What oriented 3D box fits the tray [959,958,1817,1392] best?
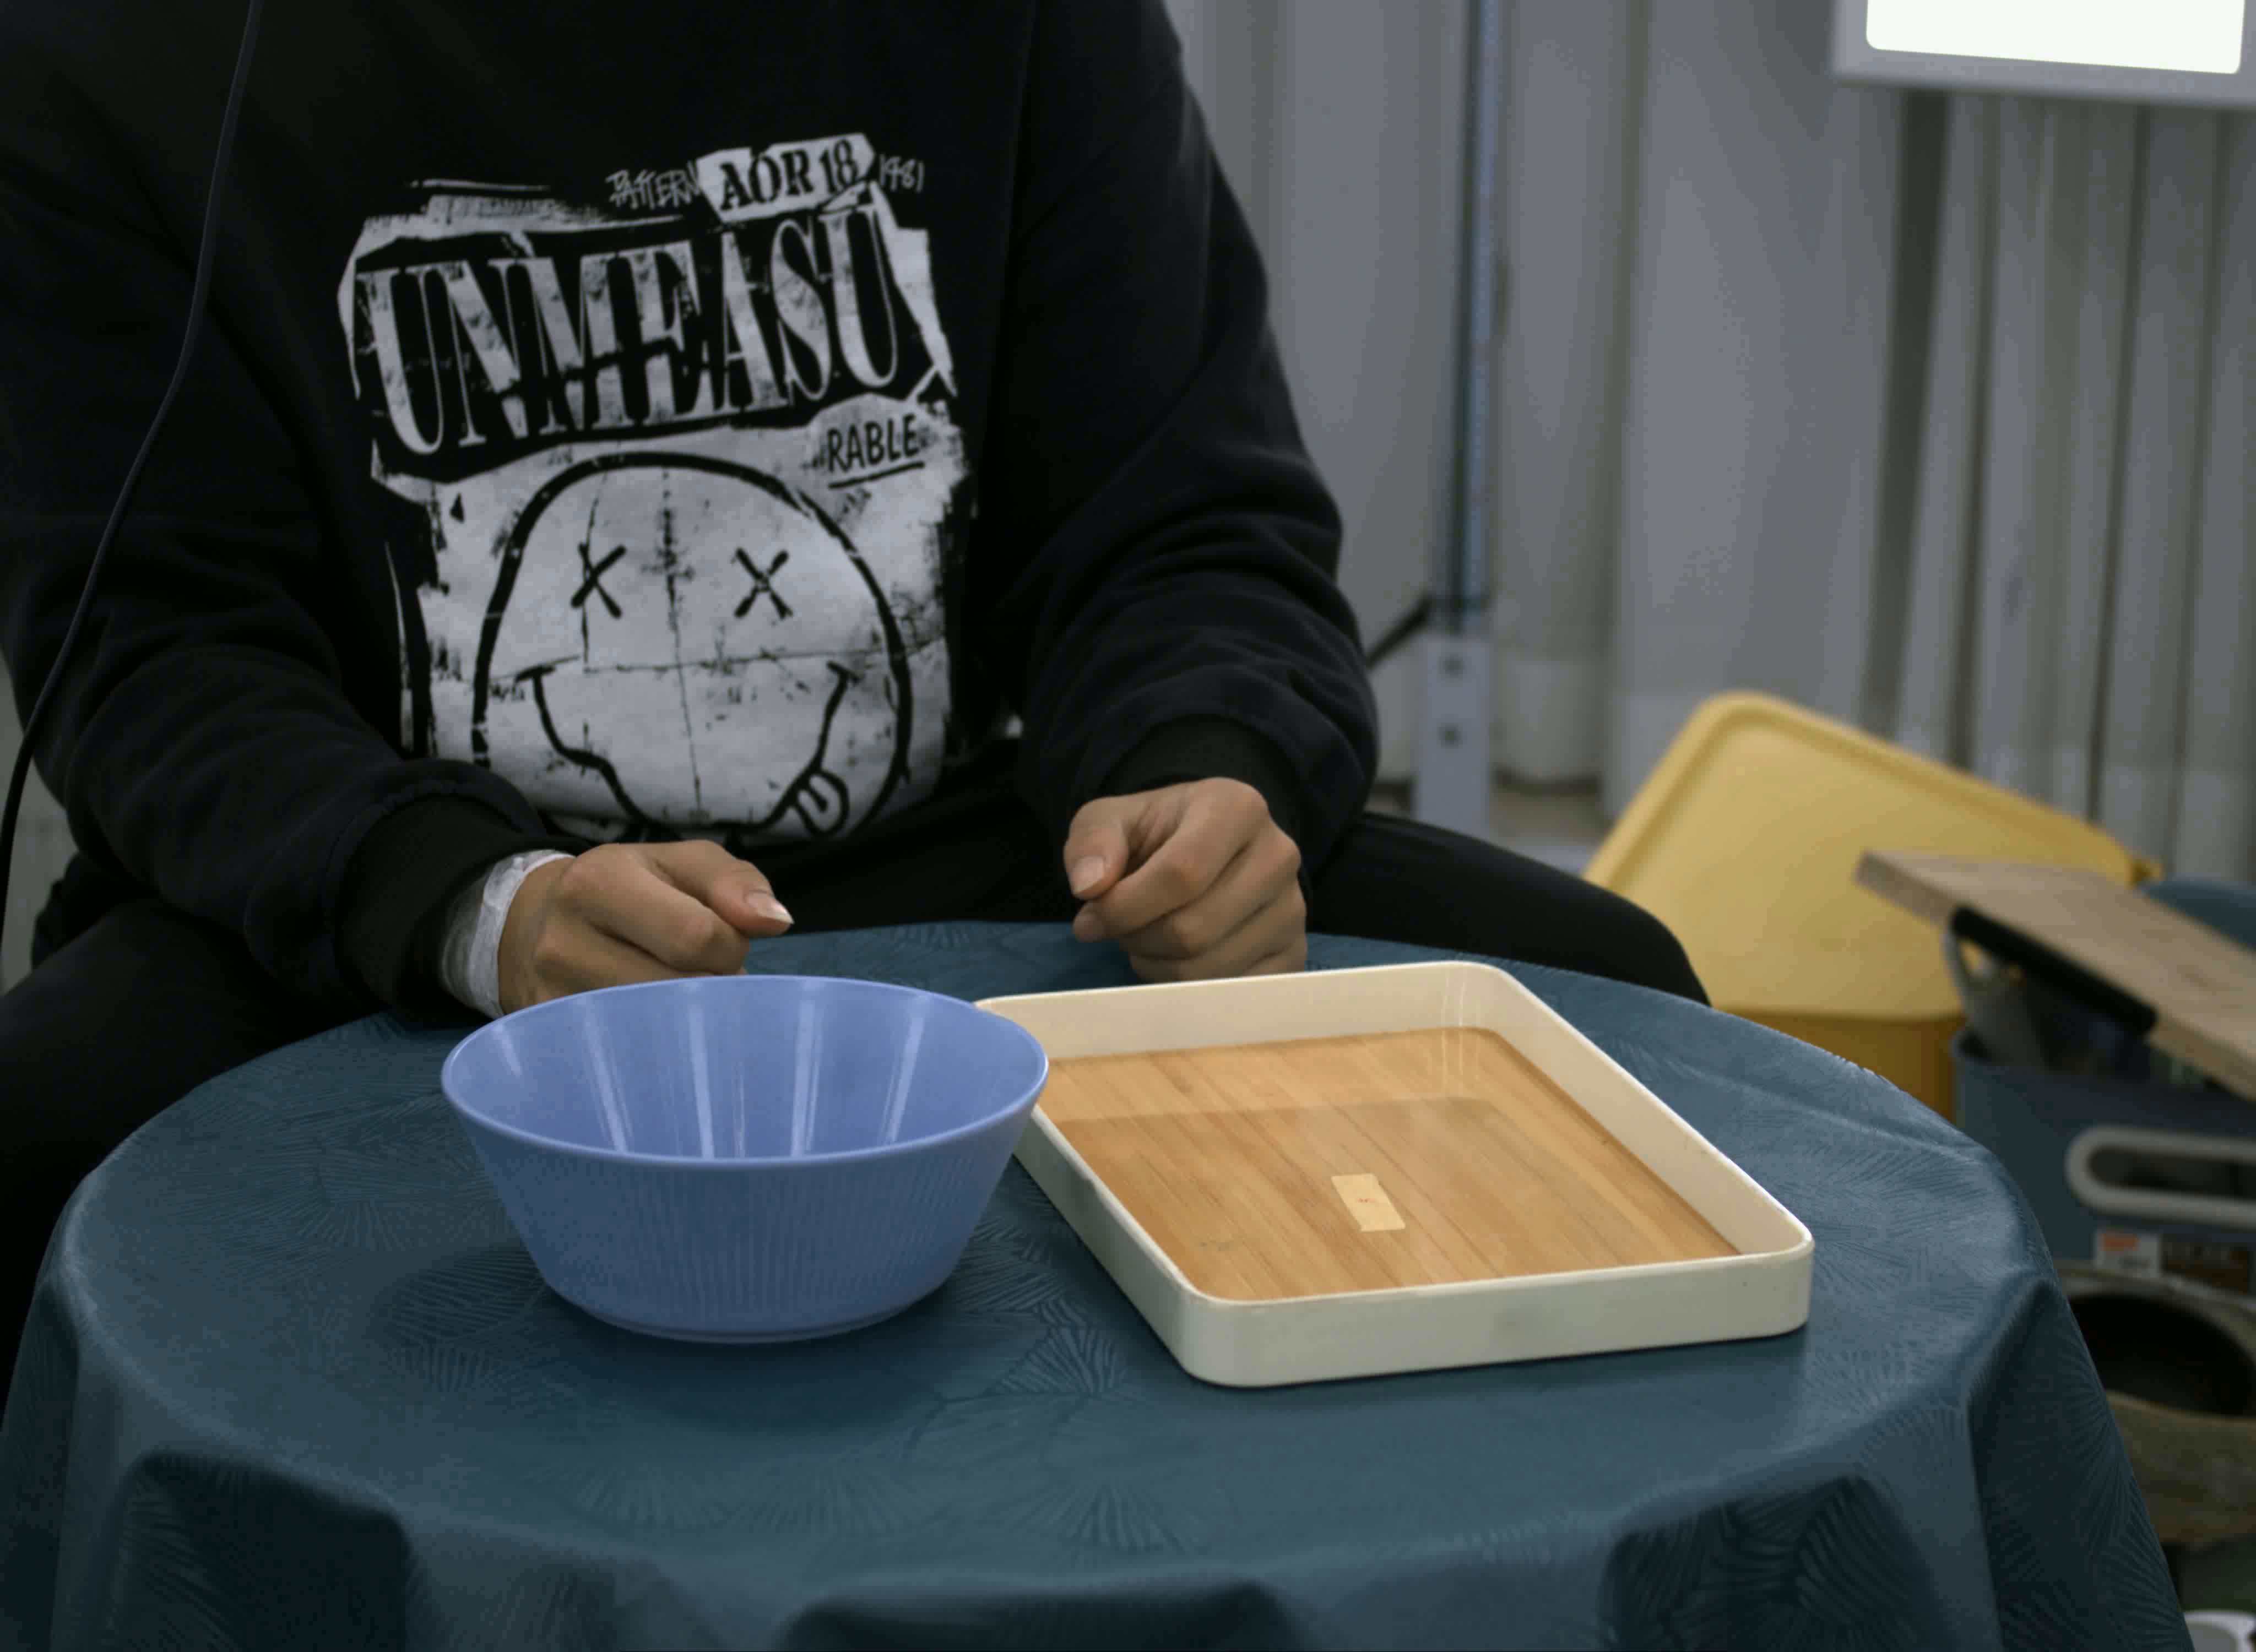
[{"bbox_3d":[0.072,0.102,1.619,0.192,0.027,0.297,-4,17,-15],"label":"tray"}]

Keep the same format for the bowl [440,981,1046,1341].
[{"bbox_3d":[-0.112,0.100,1.536,0.175,0.071,0.175,2,15,0],"label":"bowl"}]
